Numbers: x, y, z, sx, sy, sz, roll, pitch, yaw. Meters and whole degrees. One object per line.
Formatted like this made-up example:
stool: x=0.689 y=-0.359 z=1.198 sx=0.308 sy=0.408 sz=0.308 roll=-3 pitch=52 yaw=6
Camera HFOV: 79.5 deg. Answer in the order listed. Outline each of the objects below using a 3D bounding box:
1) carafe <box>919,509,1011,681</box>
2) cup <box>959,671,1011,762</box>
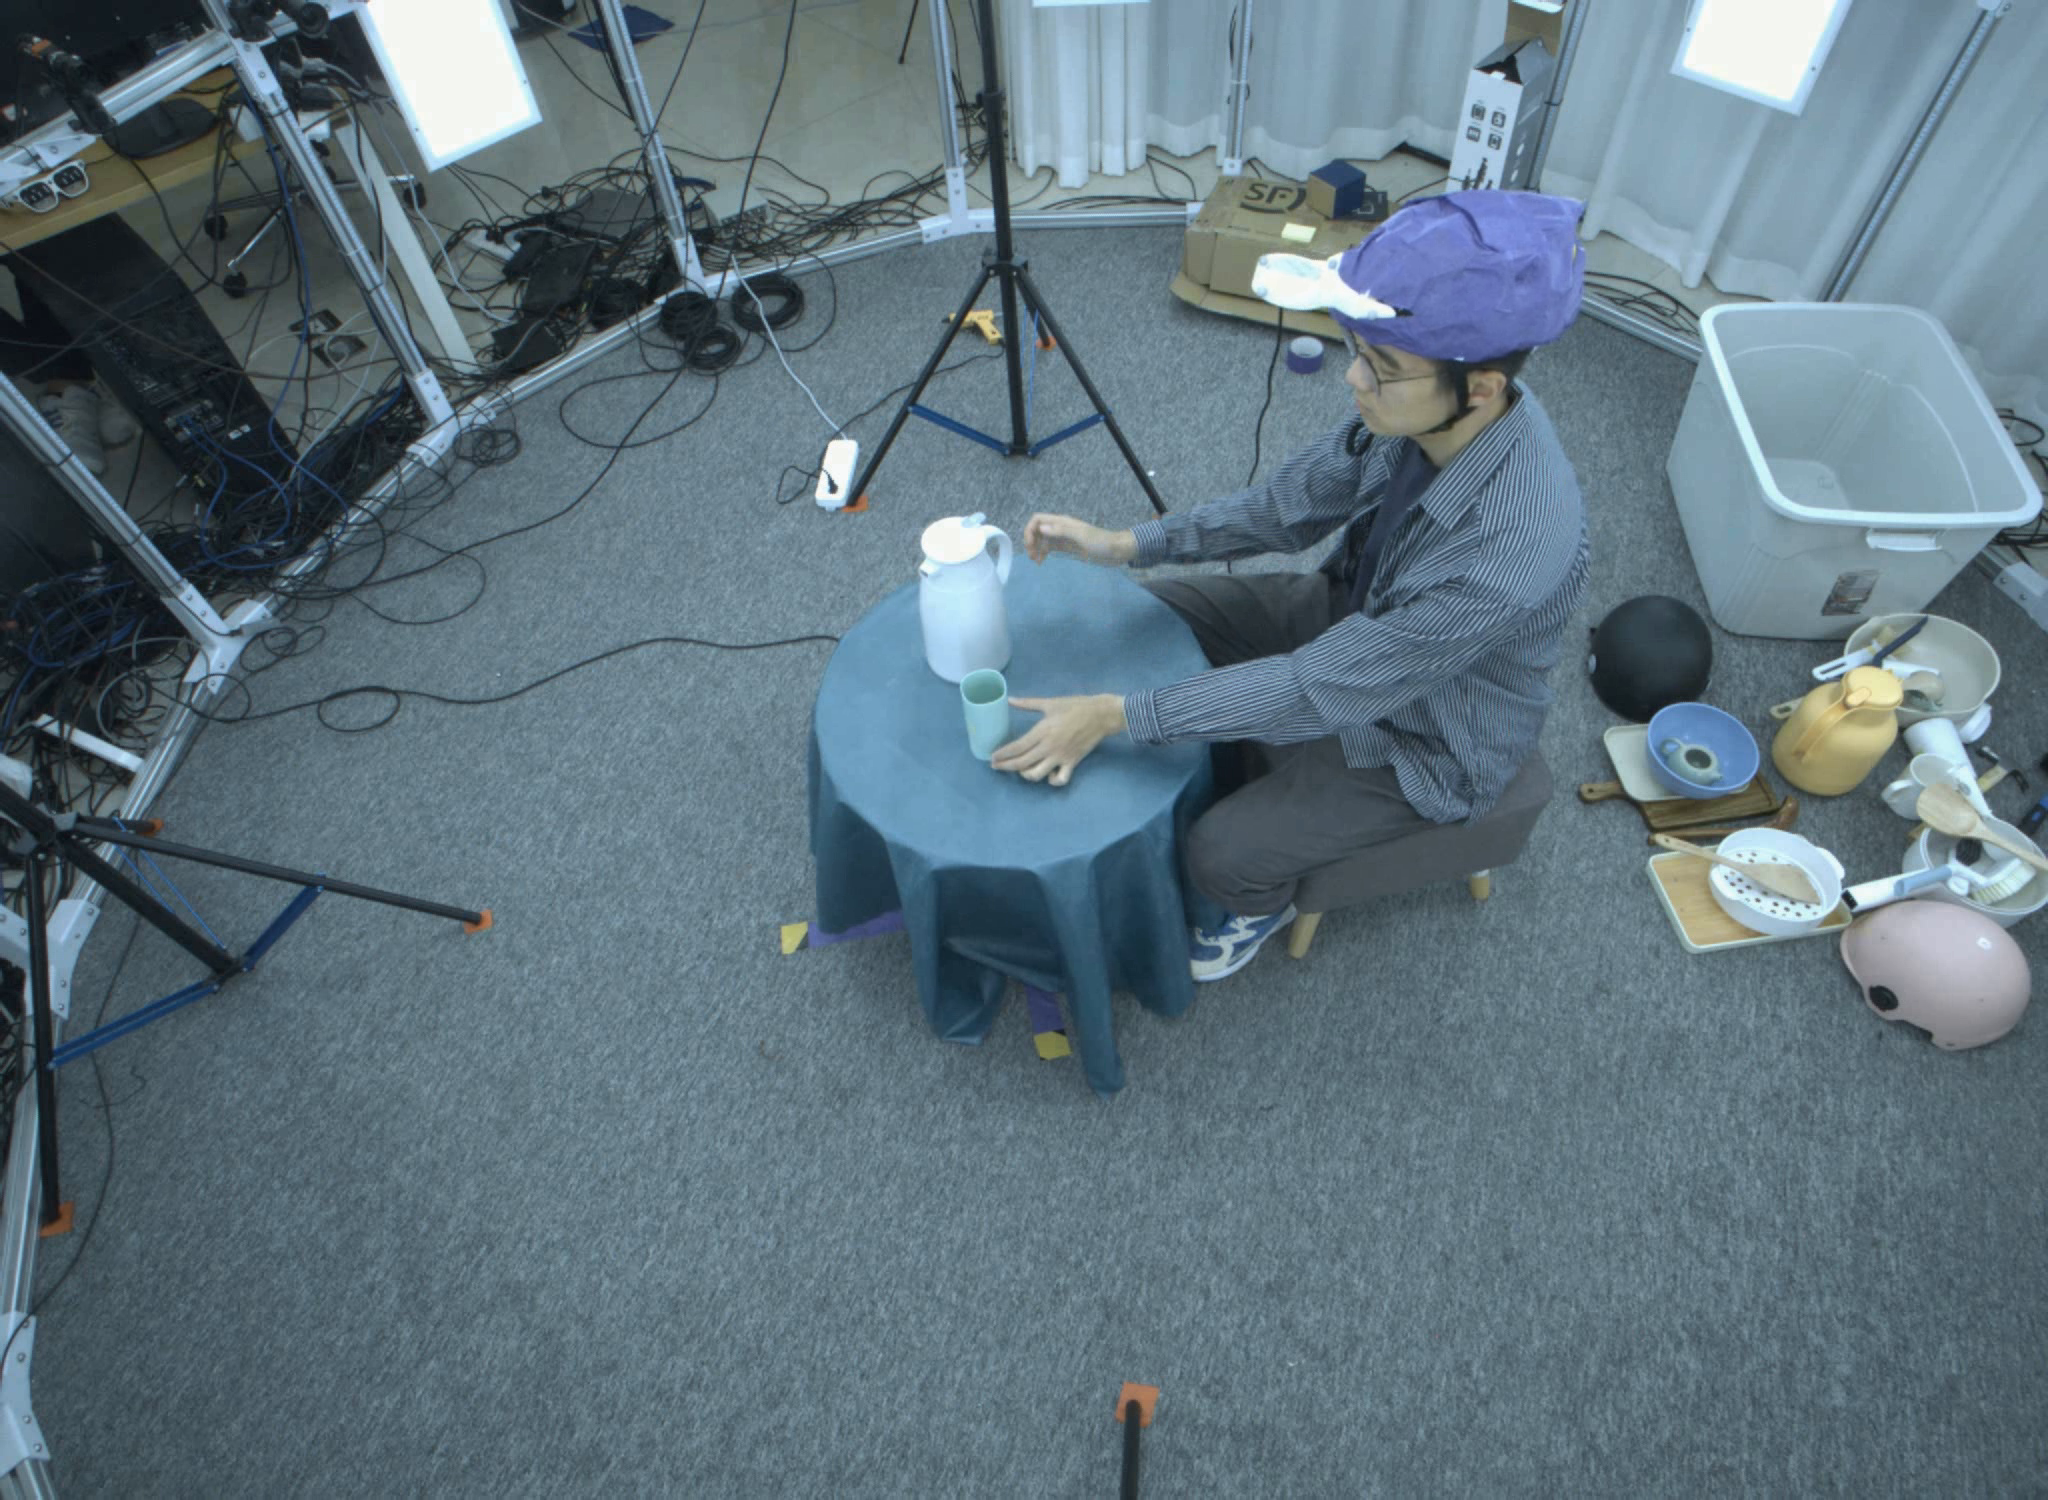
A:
carafe: x=-0.081 y=-0.242 z=1.808 sx=0.130 sy=0.251 sz=0.168 roll=32 pitch=61 yaw=24
cup: x=-0.053 y=-0.047 z=1.750 sx=0.066 sy=0.134 sz=0.066 roll=-1 pitch=54 yaw=3
